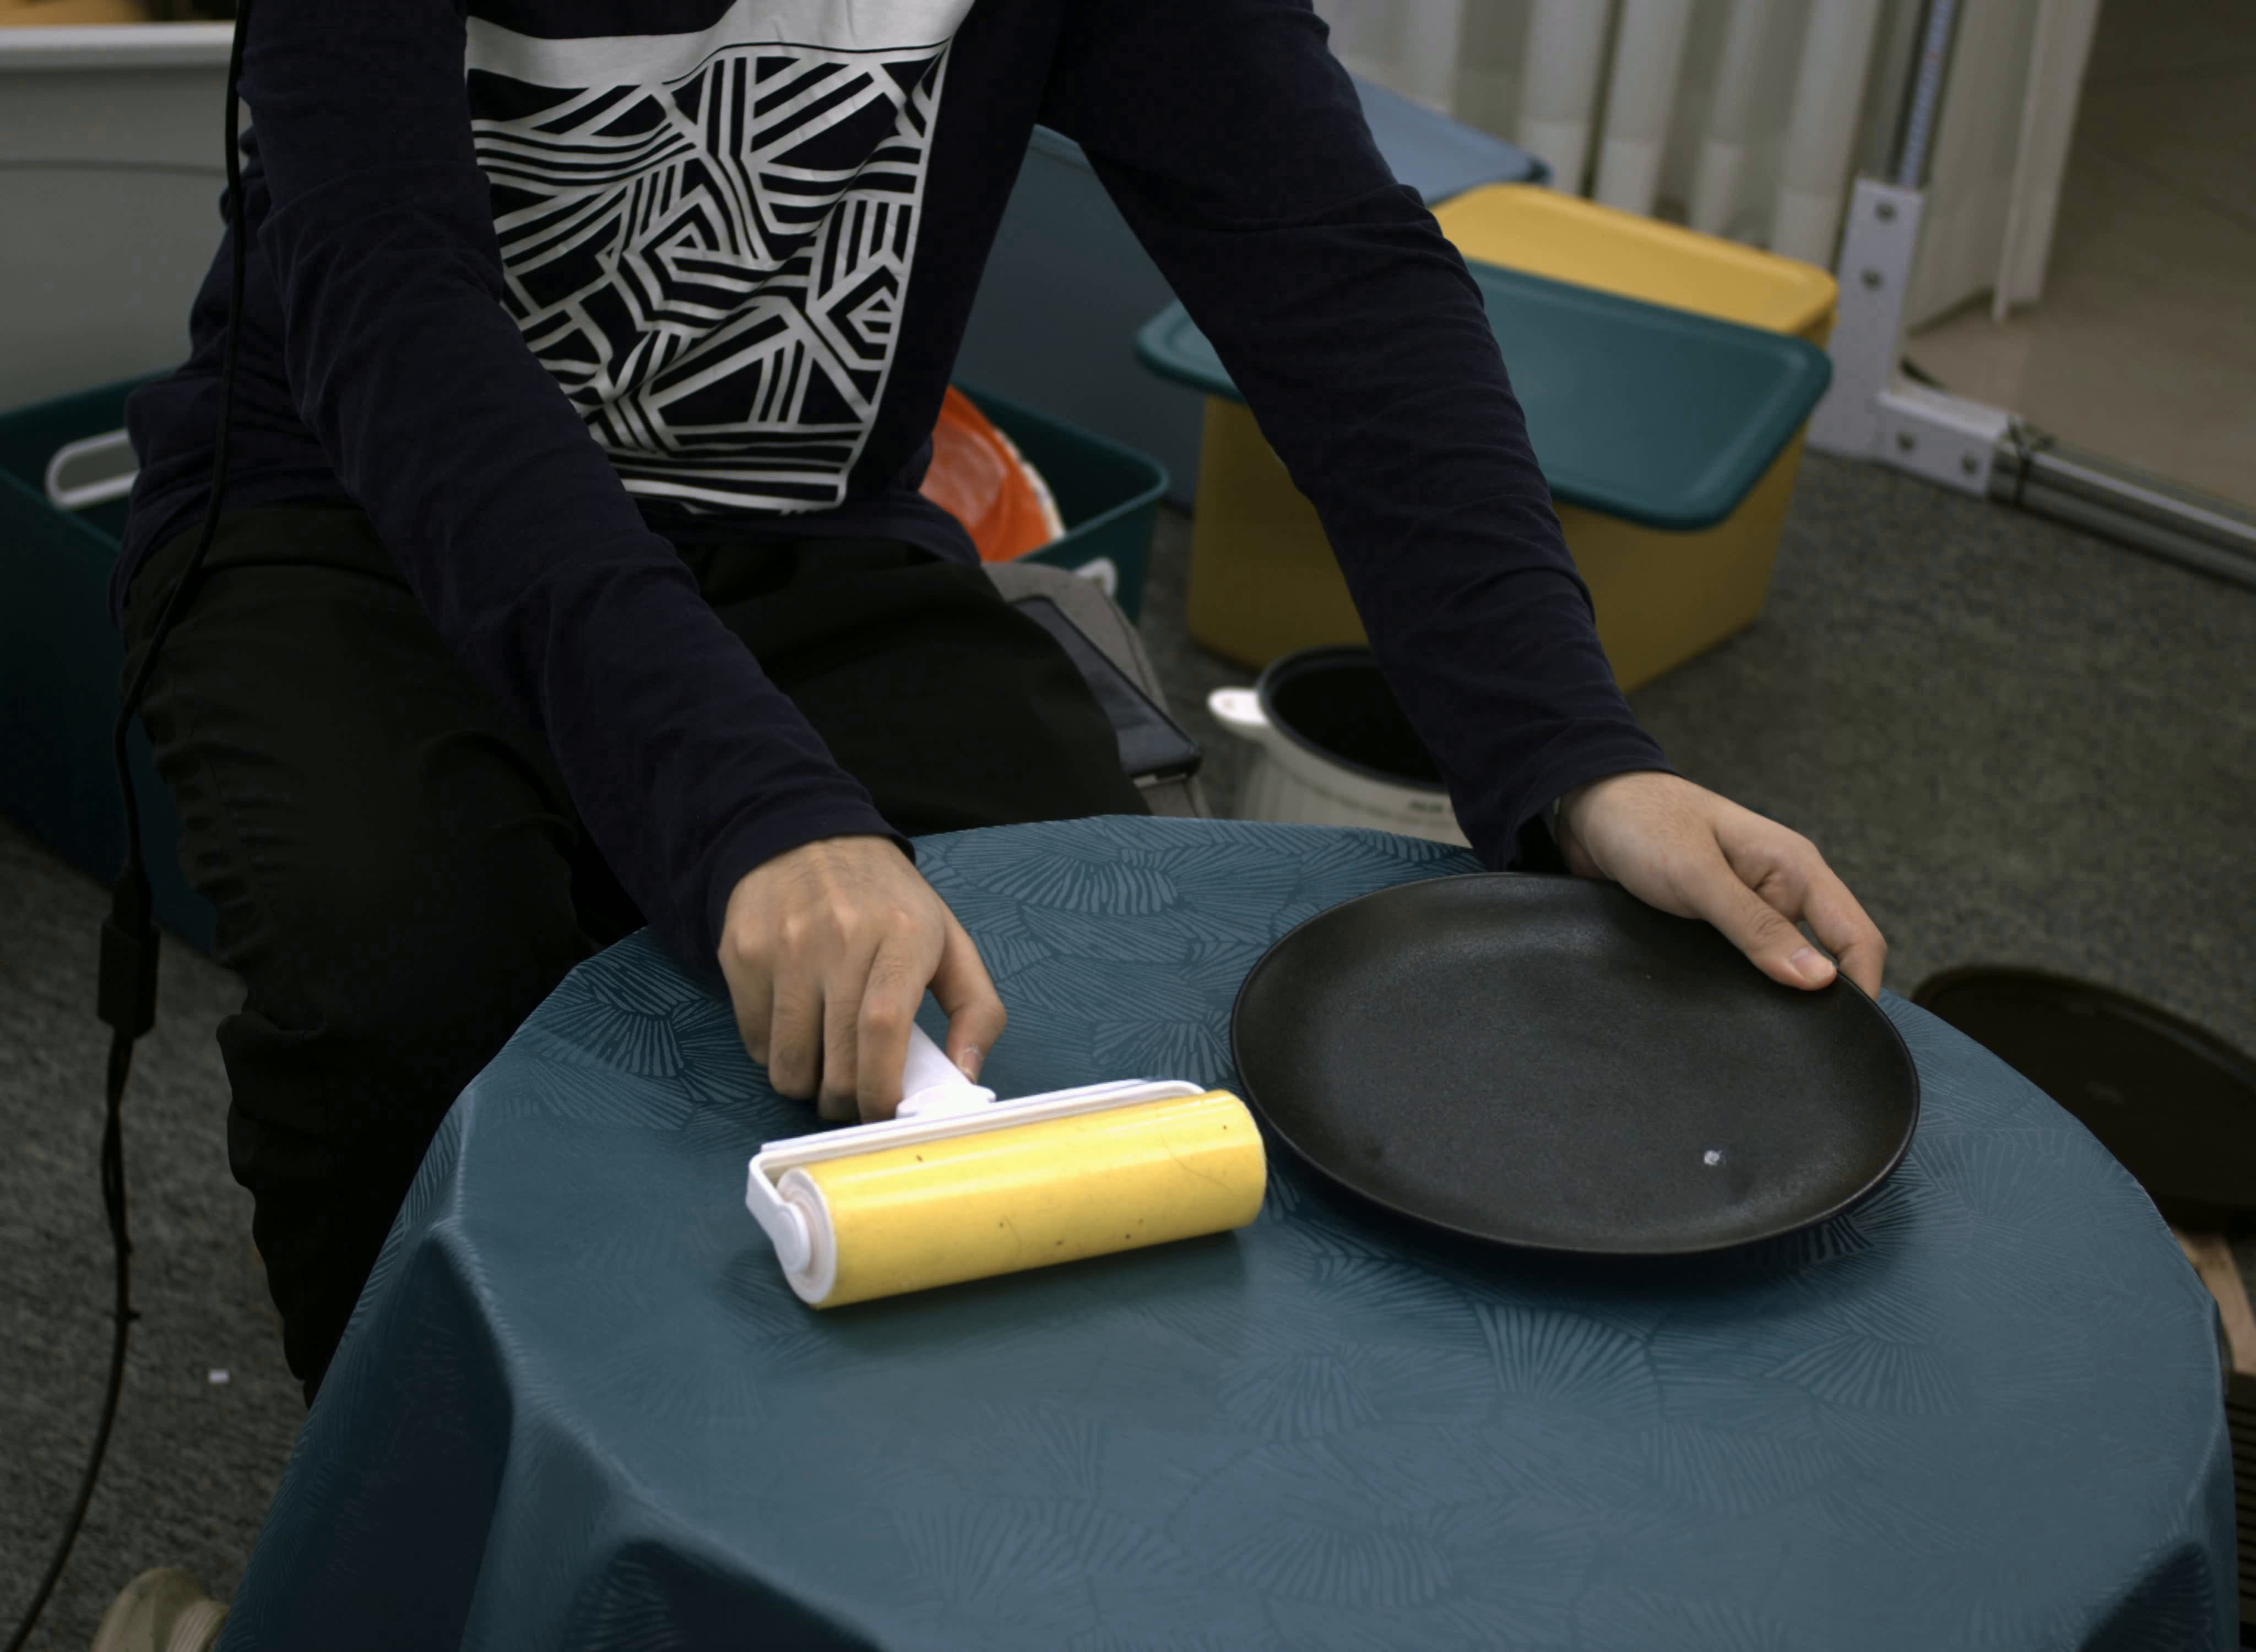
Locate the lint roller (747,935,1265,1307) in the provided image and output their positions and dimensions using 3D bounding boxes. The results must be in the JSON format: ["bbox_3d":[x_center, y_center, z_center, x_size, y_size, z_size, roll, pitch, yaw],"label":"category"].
[{"bbox_3d":[-0.070,0.082,1.796,0.173,0.051,0.194,-9,40,-30],"label":"lint roller"}]

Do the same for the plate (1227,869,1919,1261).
[{"bbox_3d":[0.155,0.087,1.871,0.243,0.023,0.246,3,31,-2],"label":"plate"}]
